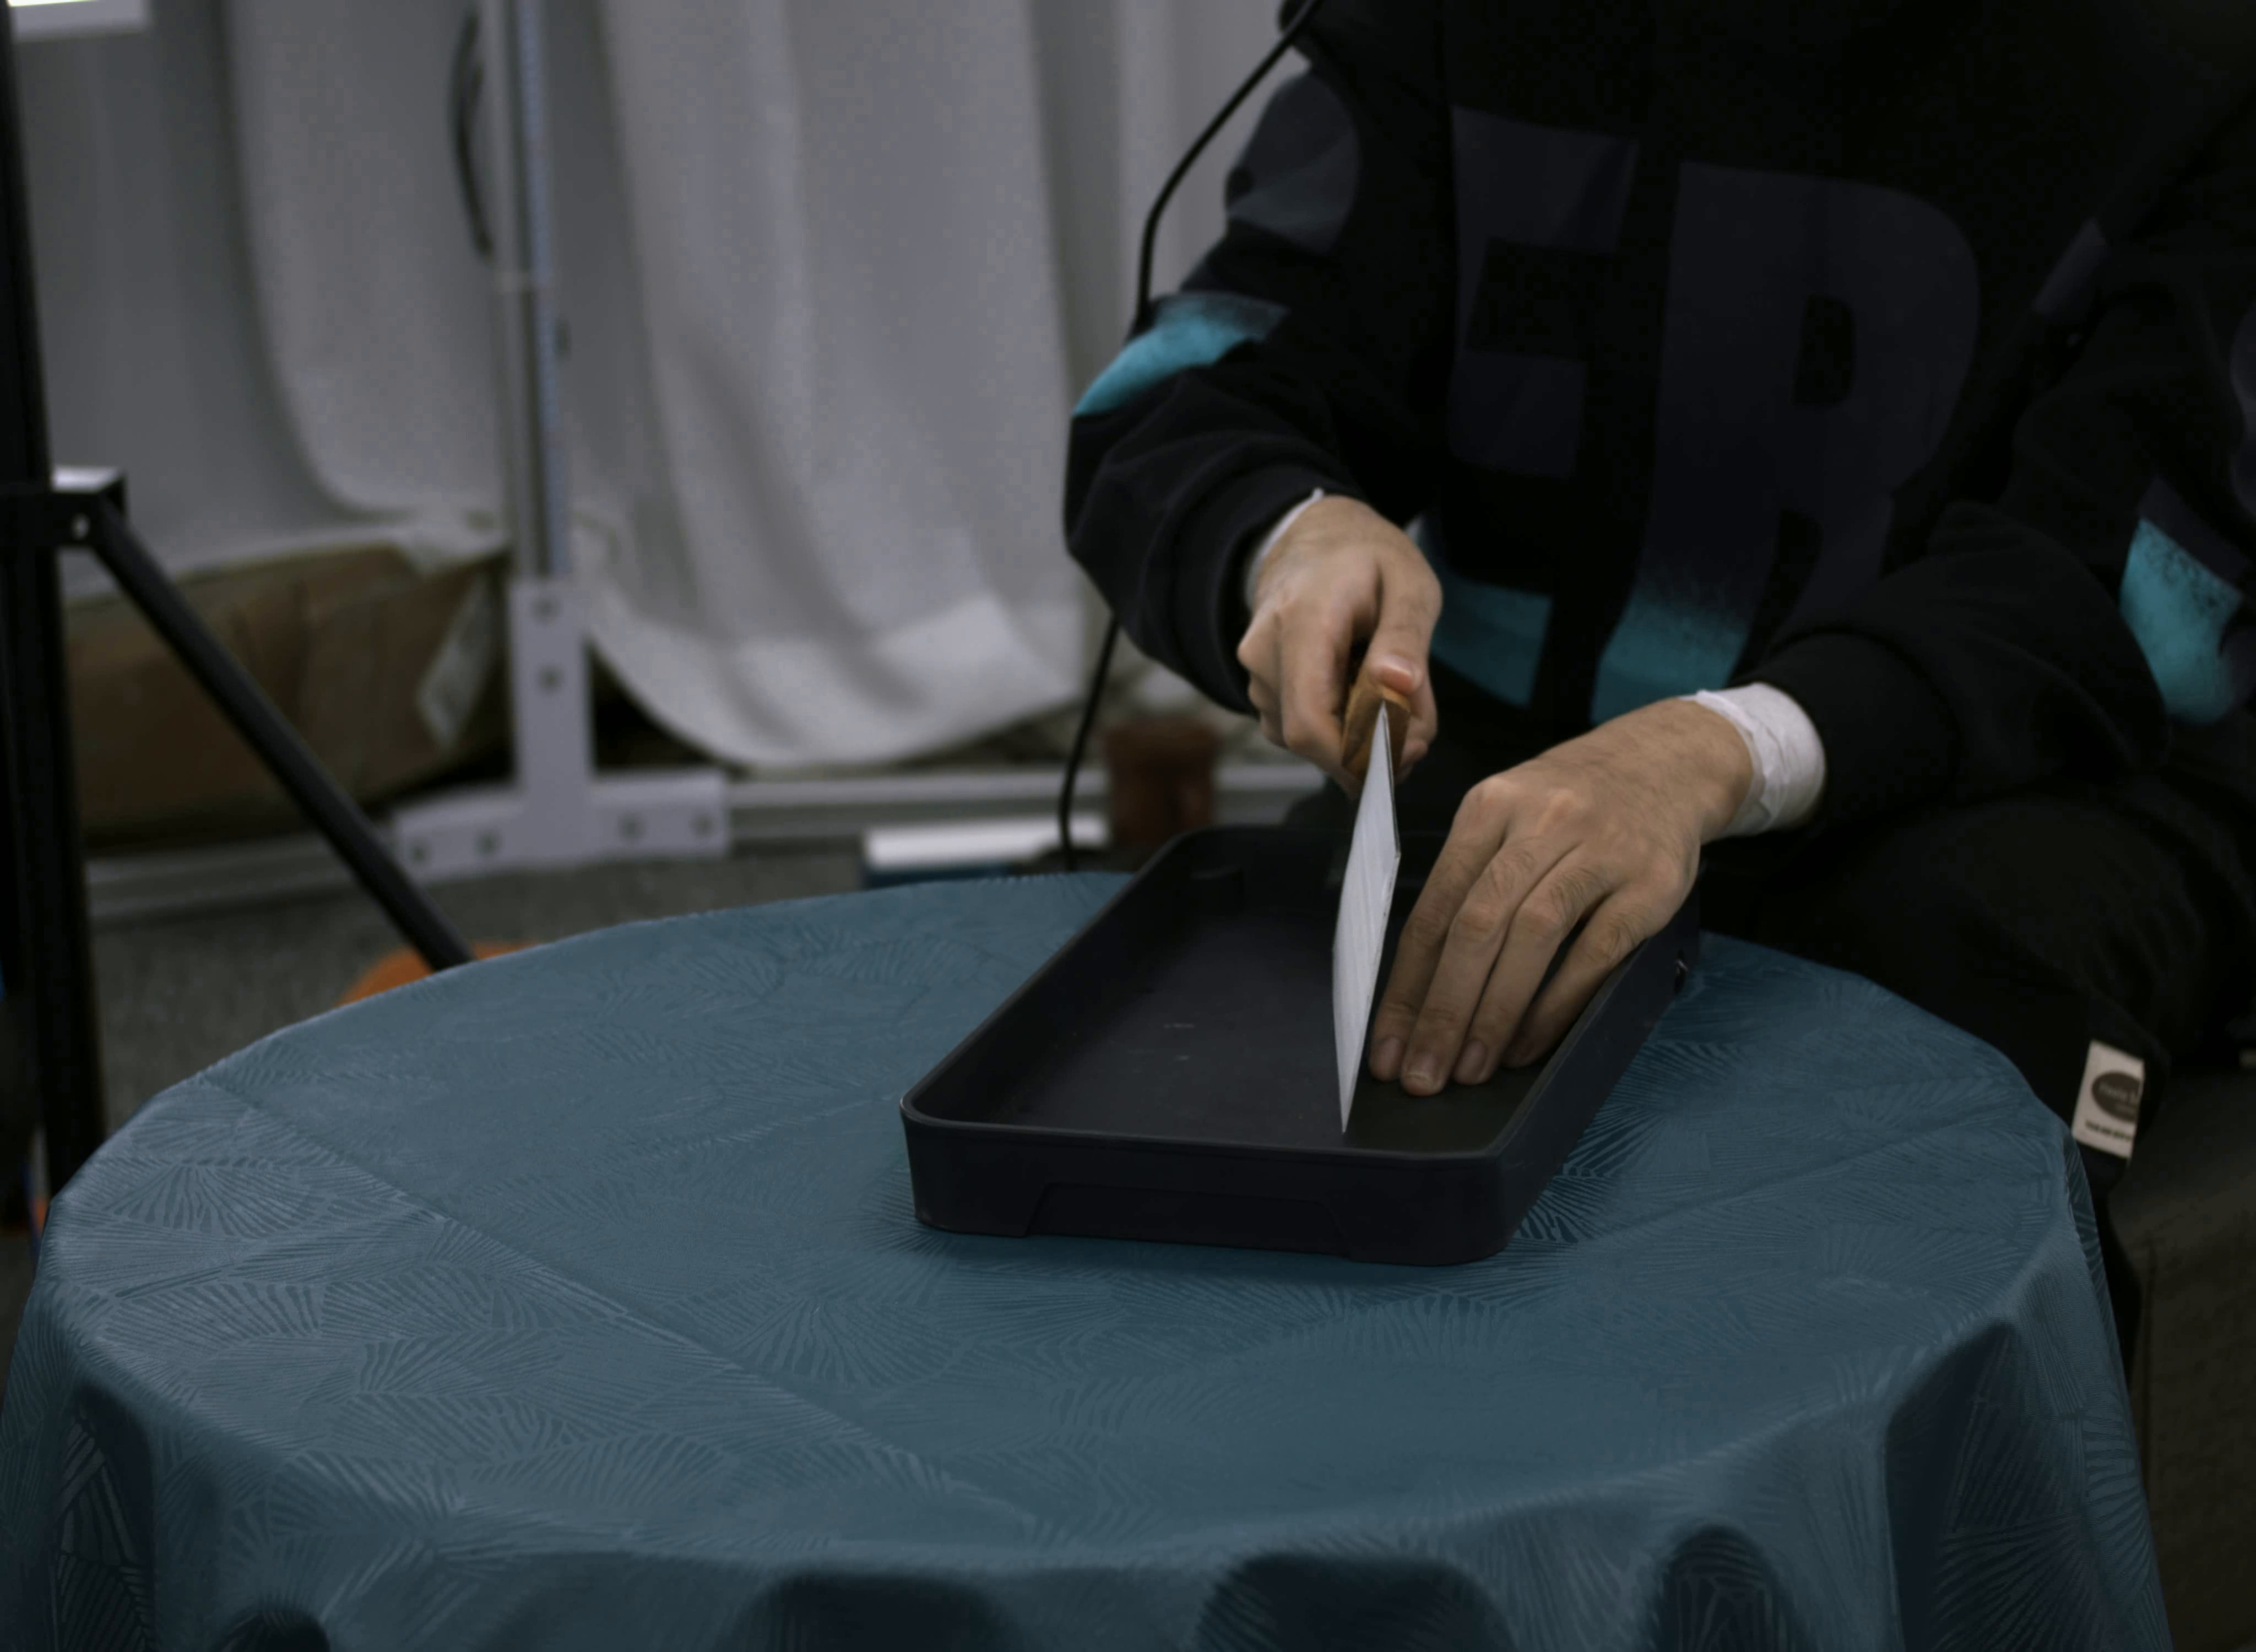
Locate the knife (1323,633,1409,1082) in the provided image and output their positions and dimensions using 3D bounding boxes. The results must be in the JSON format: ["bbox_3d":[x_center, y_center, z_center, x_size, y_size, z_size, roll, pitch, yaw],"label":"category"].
[{"bbox_3d":[0.074,0.009,1.703,0.021,0.093,0.306,10,15,-2],"label":"knife"}]

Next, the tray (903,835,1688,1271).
[{"bbox_3d":[0.060,0.064,1.638,0.186,0.037,0.315,2,16,16],"label":"tray"}]
